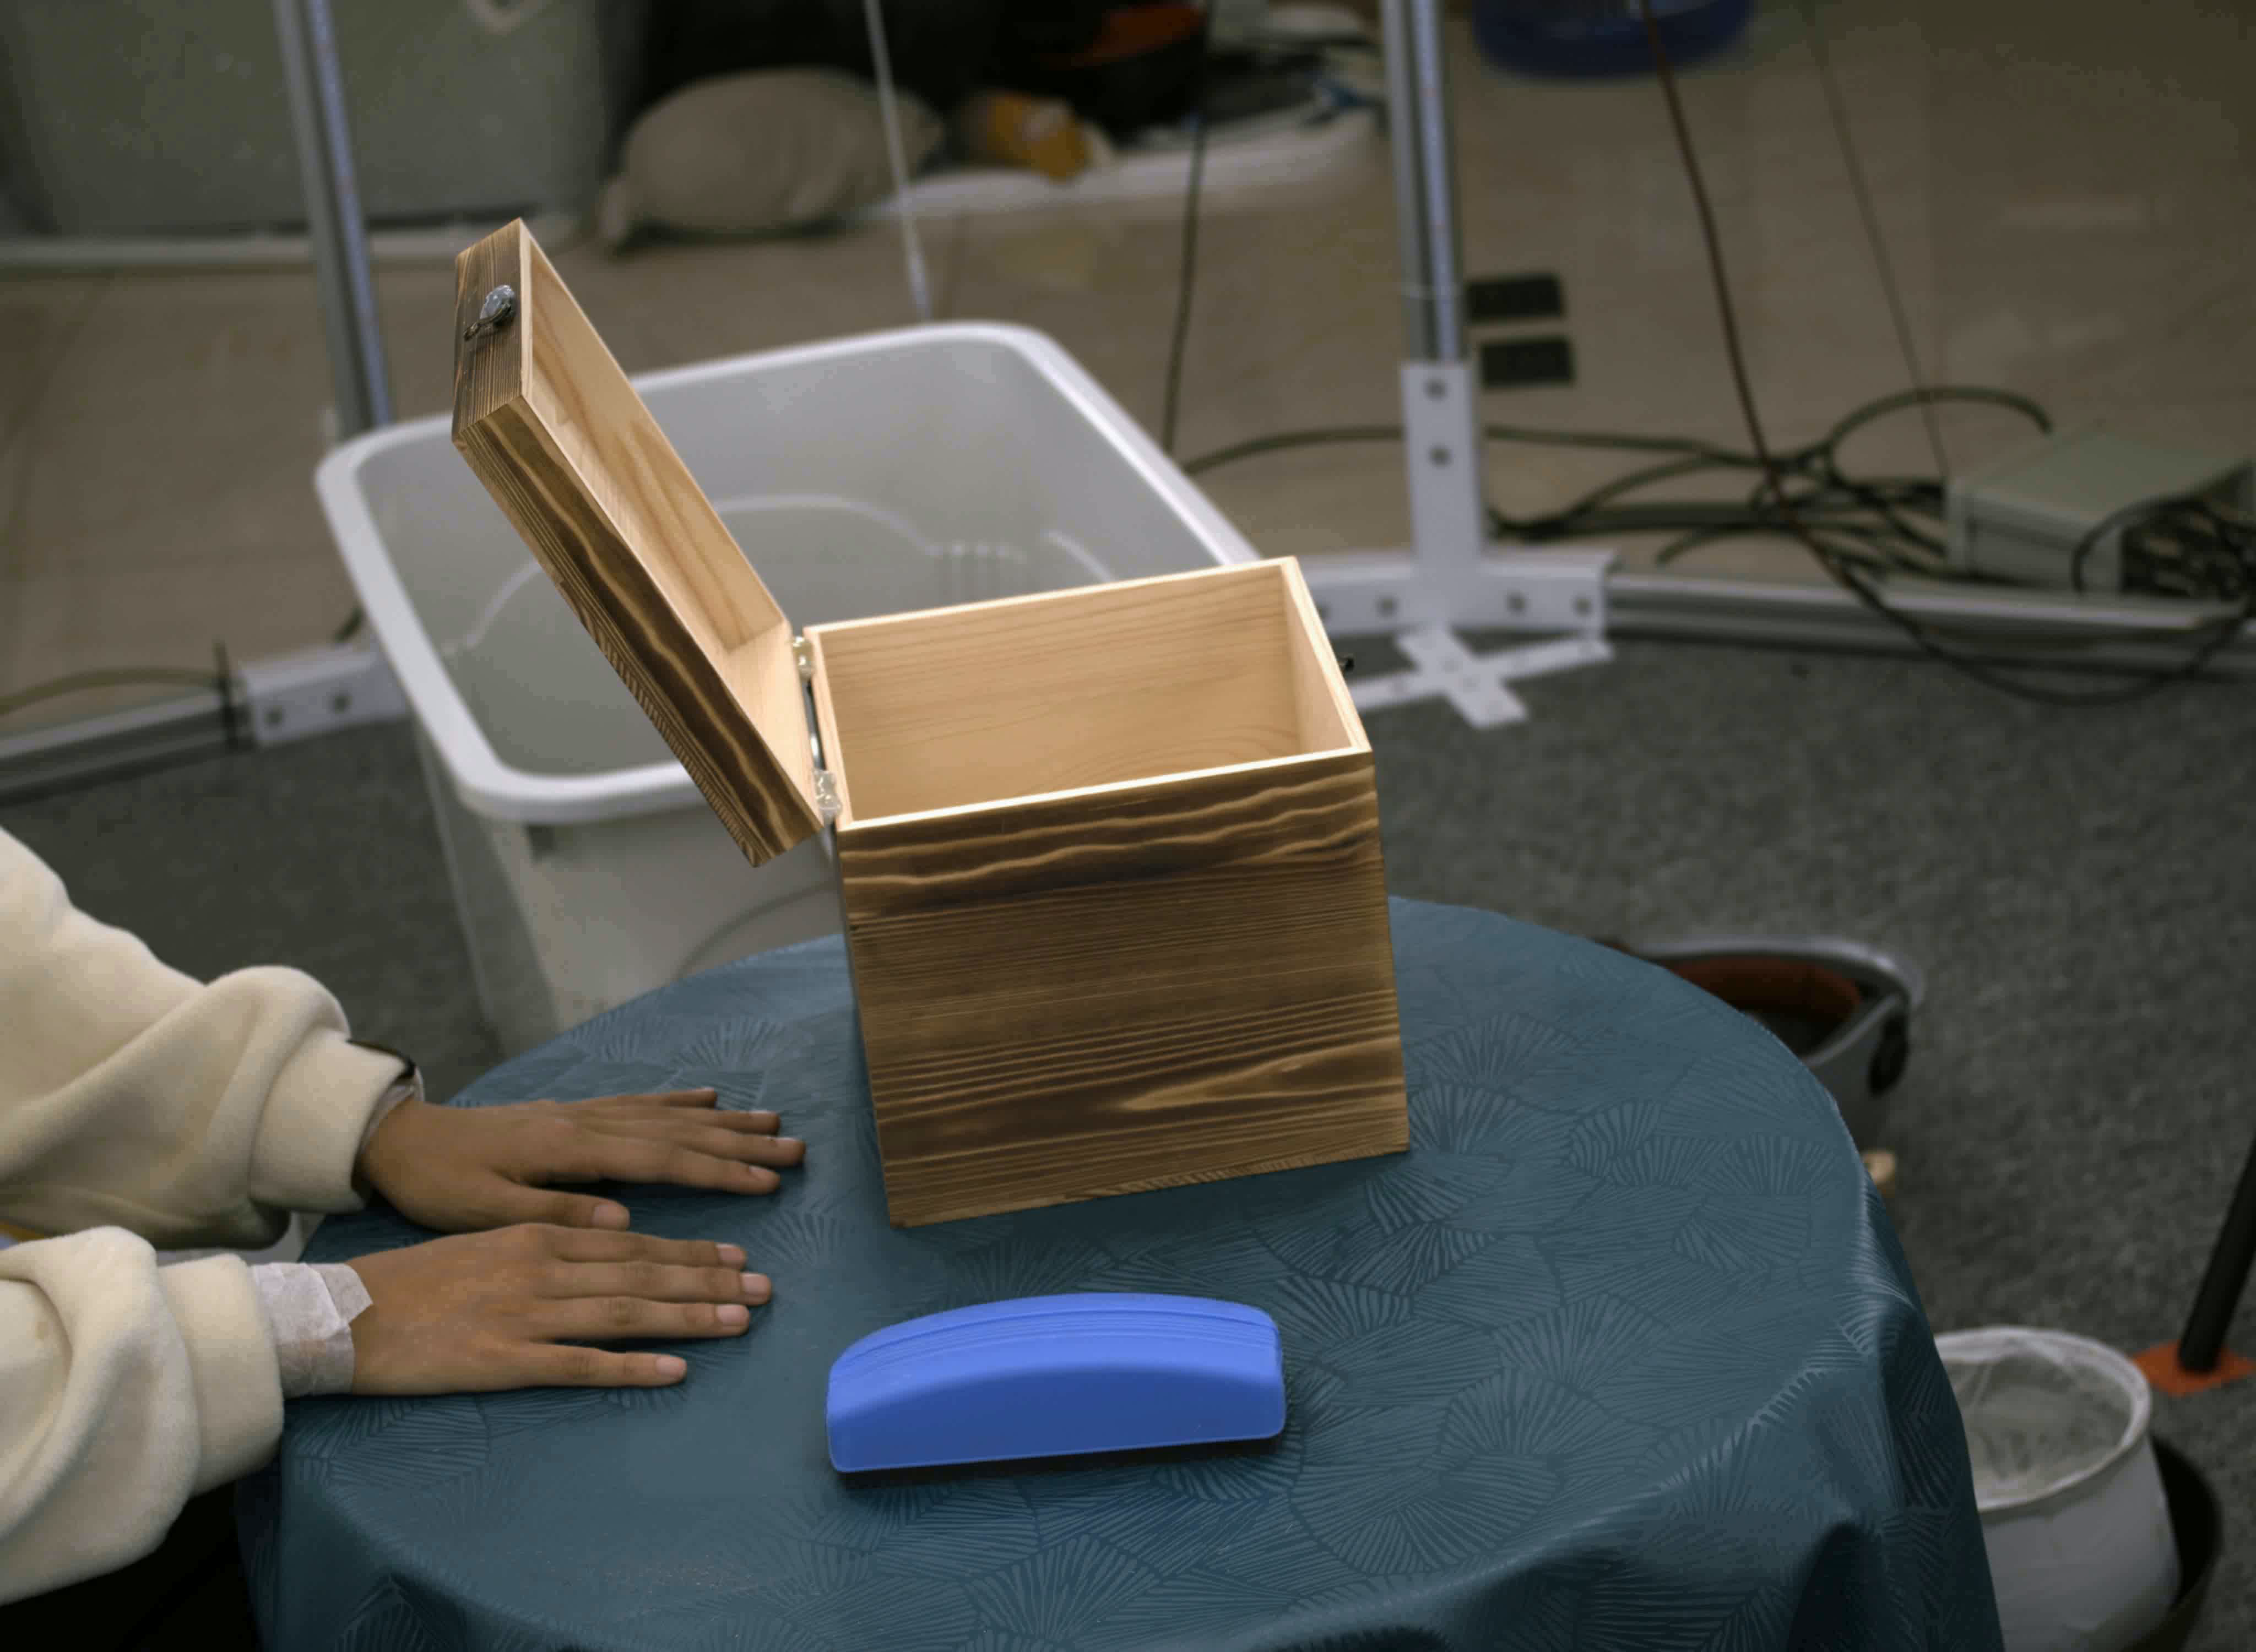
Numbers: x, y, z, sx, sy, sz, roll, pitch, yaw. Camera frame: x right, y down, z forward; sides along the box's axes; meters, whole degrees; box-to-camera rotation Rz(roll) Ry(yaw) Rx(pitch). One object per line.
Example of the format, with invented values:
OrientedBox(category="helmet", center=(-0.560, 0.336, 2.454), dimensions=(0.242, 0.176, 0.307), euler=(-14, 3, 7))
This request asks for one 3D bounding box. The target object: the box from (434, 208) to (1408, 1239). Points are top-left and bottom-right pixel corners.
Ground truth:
OrientedBox(category="box", center=(-0.072, -0.053, 2.151), dimensions=(0.321, 0.381, 0.205), euler=(-10, 27, -3))

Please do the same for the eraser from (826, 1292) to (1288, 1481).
OrientedBox(category="eraser", center=(-0.026, 0.193, 1.981), dimensions=(0.162, 0.048, 0.053), euler=(-4, 25, 3))
